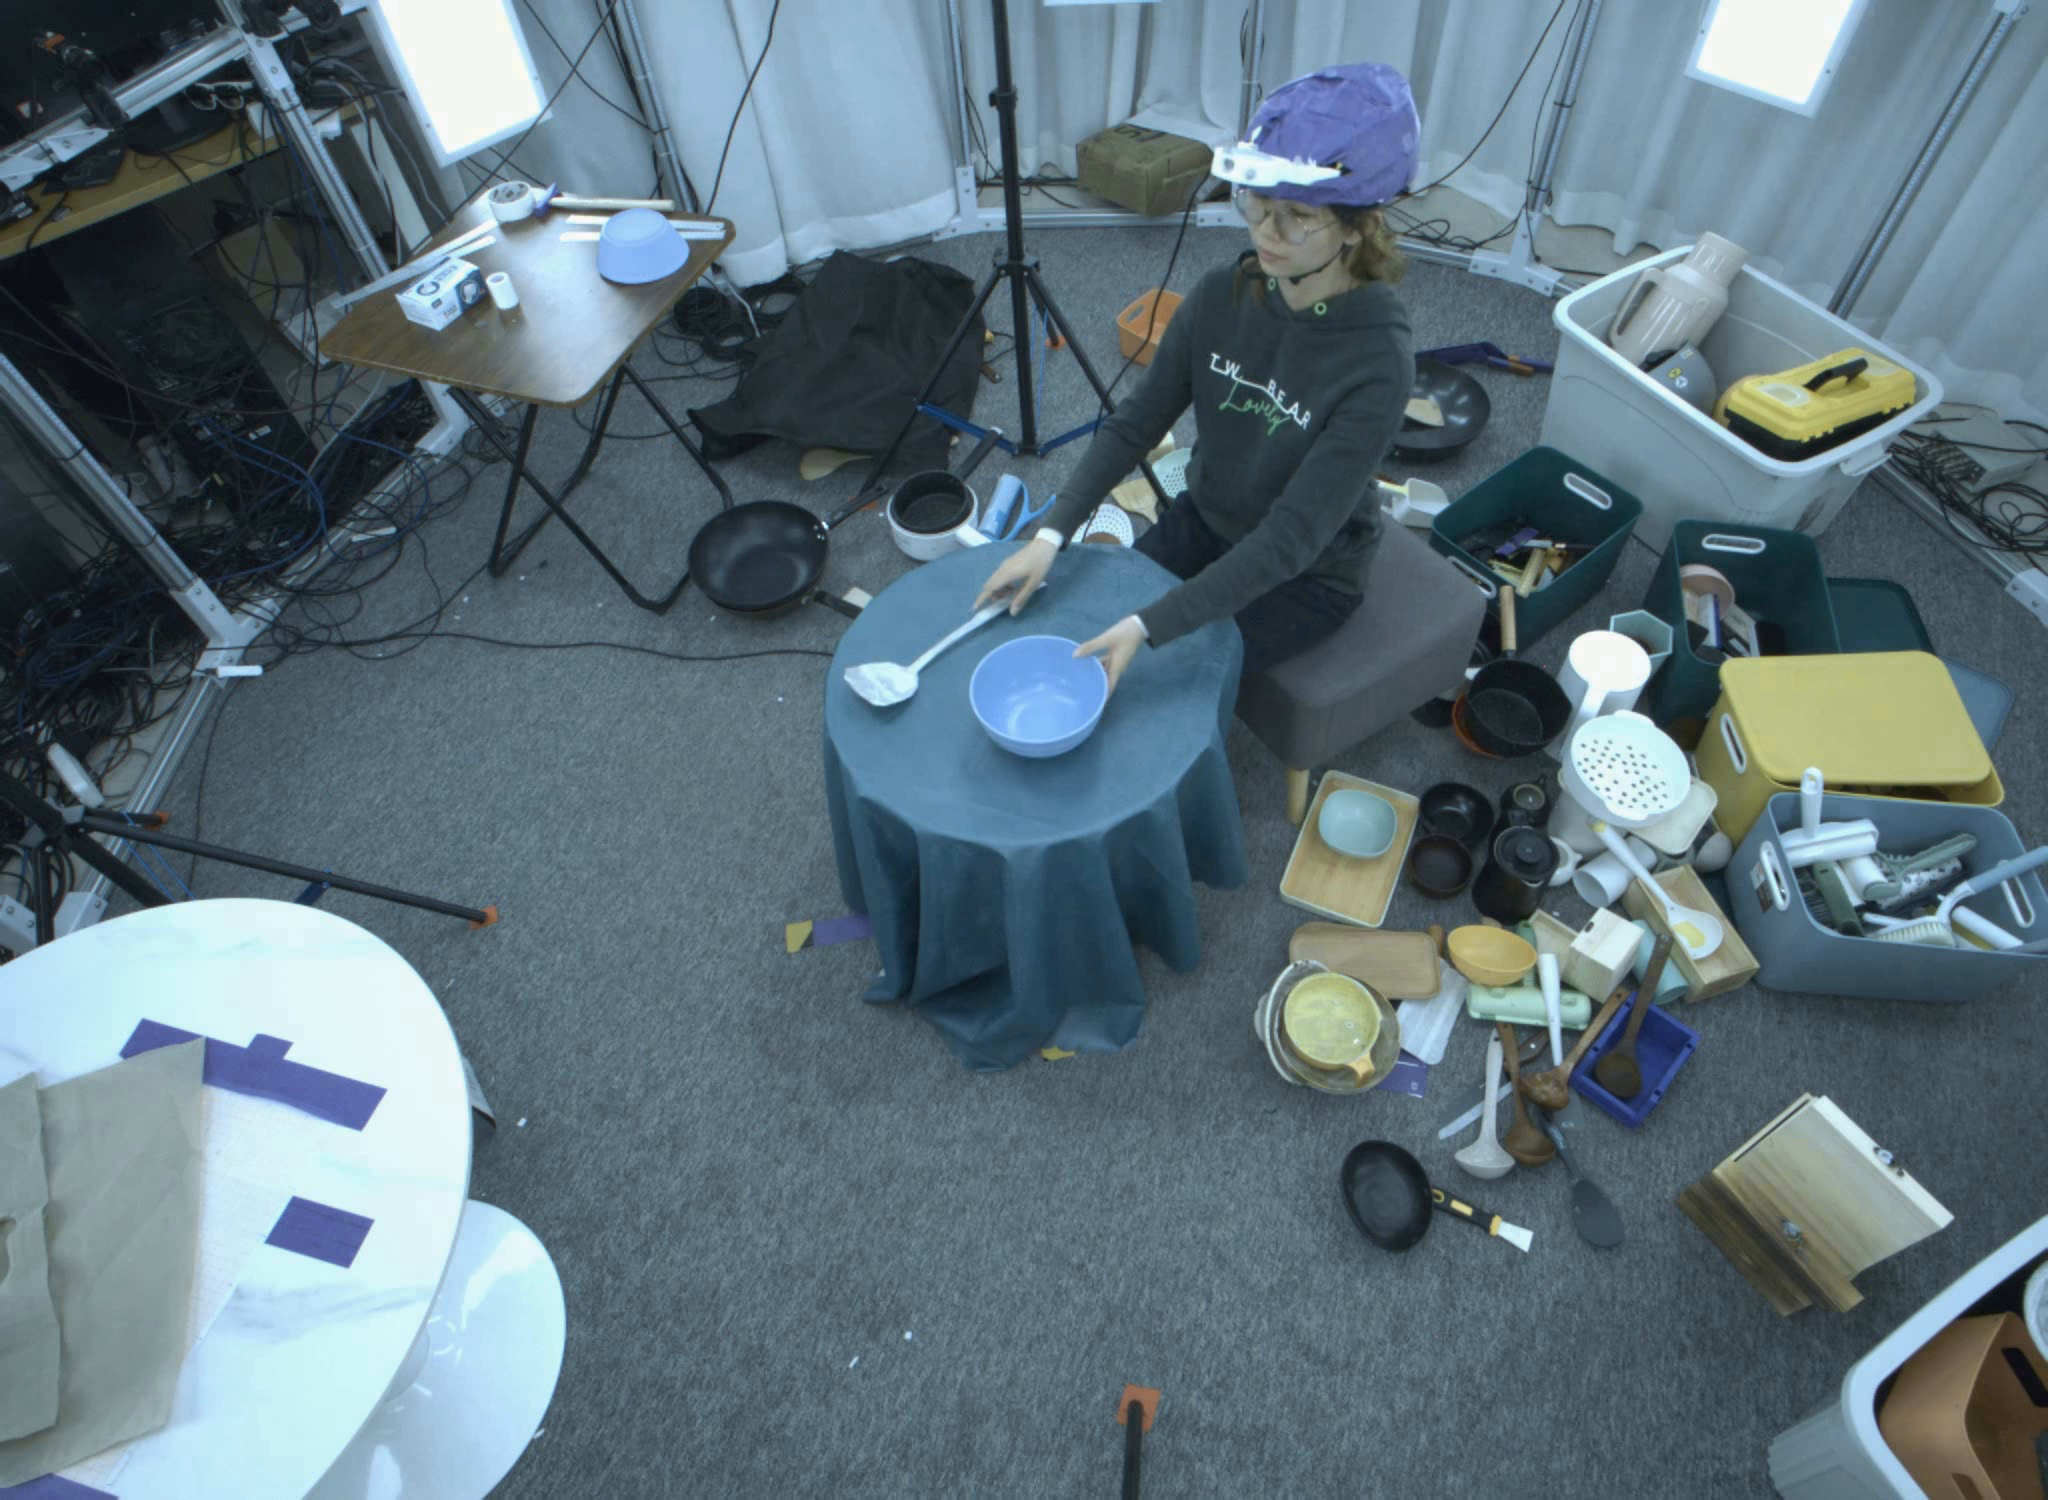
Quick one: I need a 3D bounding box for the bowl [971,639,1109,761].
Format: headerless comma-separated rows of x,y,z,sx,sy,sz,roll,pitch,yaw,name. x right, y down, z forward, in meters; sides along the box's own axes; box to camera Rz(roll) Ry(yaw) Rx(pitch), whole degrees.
0.025,-0.057,1.779,0.196,0.096,0.194,-1,54,3,bowl

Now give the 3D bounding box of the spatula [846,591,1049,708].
-0.108,-0.169,1.896,0.367,0.045,0.097,-36,59,-21,spatula
